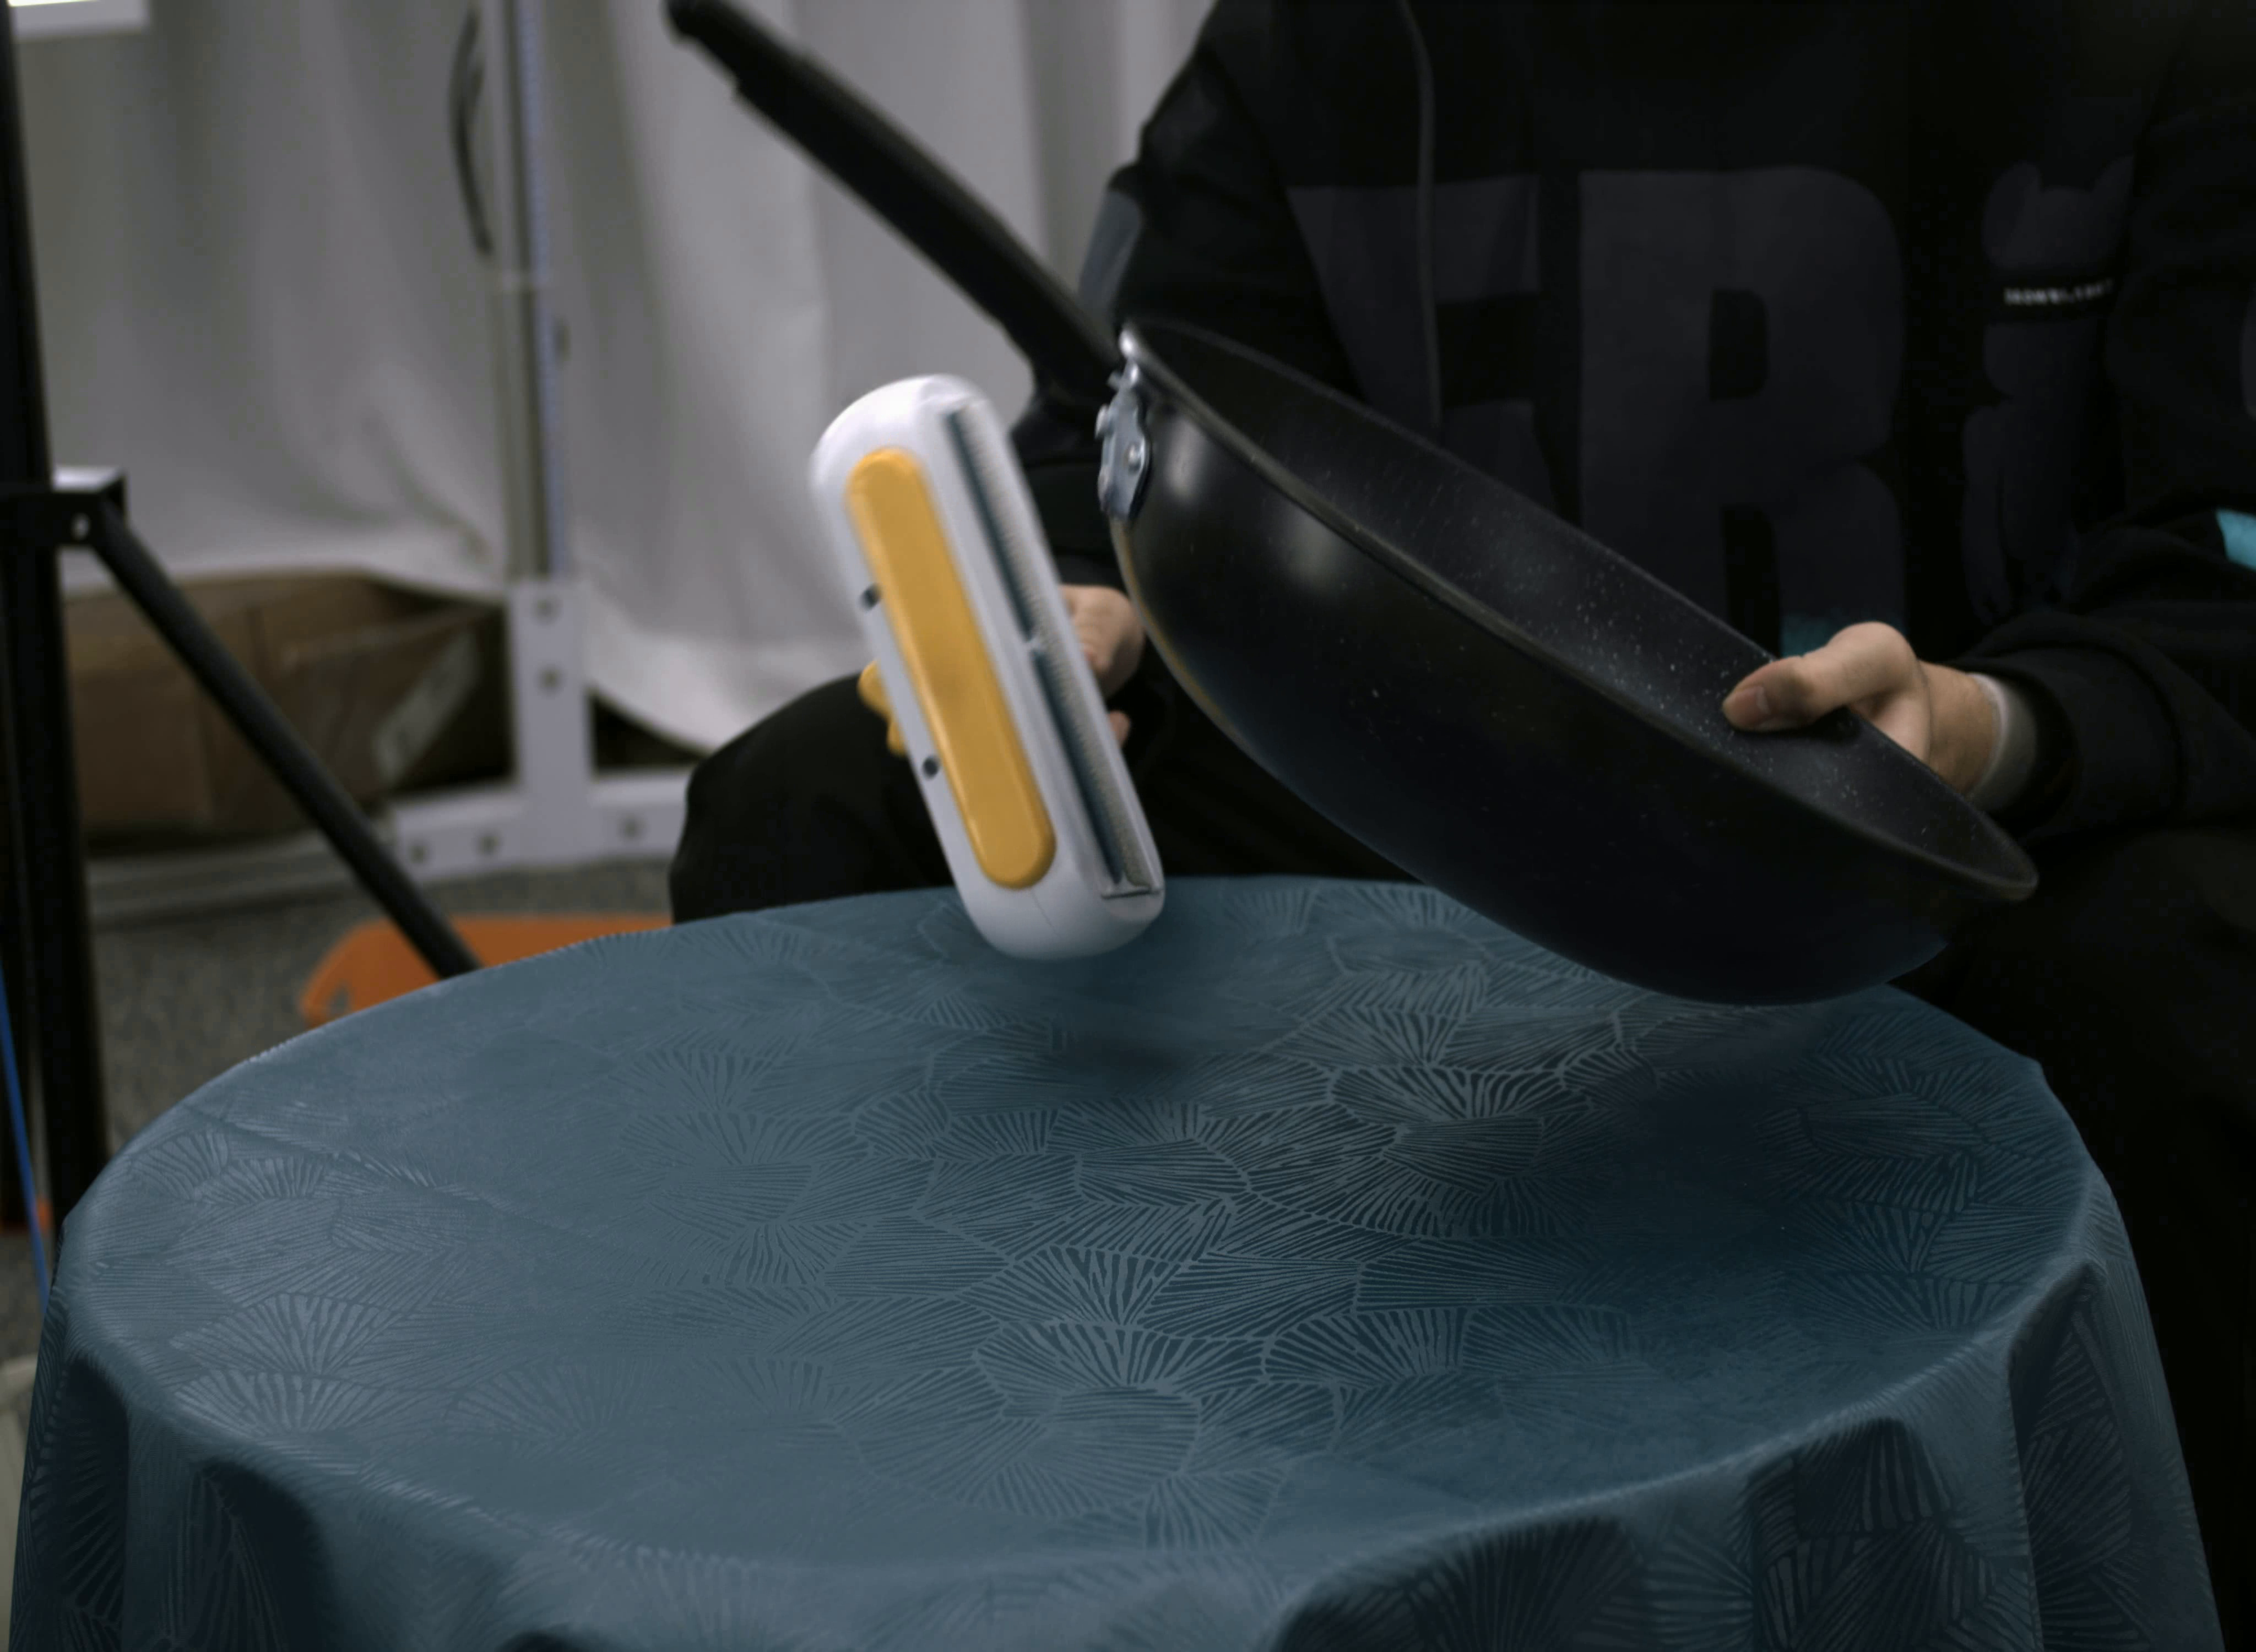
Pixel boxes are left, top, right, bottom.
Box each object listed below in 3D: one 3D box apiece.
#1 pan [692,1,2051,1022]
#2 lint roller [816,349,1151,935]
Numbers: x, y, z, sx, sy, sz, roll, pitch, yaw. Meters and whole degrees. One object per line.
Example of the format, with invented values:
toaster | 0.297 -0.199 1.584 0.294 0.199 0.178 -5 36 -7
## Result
pan | 0.053 -0.077 1.514 0.469 0.112 0.314 29 10 -18
lint roller | -0.032 -0.049 1.747 0.074 0.195 0.189 -25 -14 15
